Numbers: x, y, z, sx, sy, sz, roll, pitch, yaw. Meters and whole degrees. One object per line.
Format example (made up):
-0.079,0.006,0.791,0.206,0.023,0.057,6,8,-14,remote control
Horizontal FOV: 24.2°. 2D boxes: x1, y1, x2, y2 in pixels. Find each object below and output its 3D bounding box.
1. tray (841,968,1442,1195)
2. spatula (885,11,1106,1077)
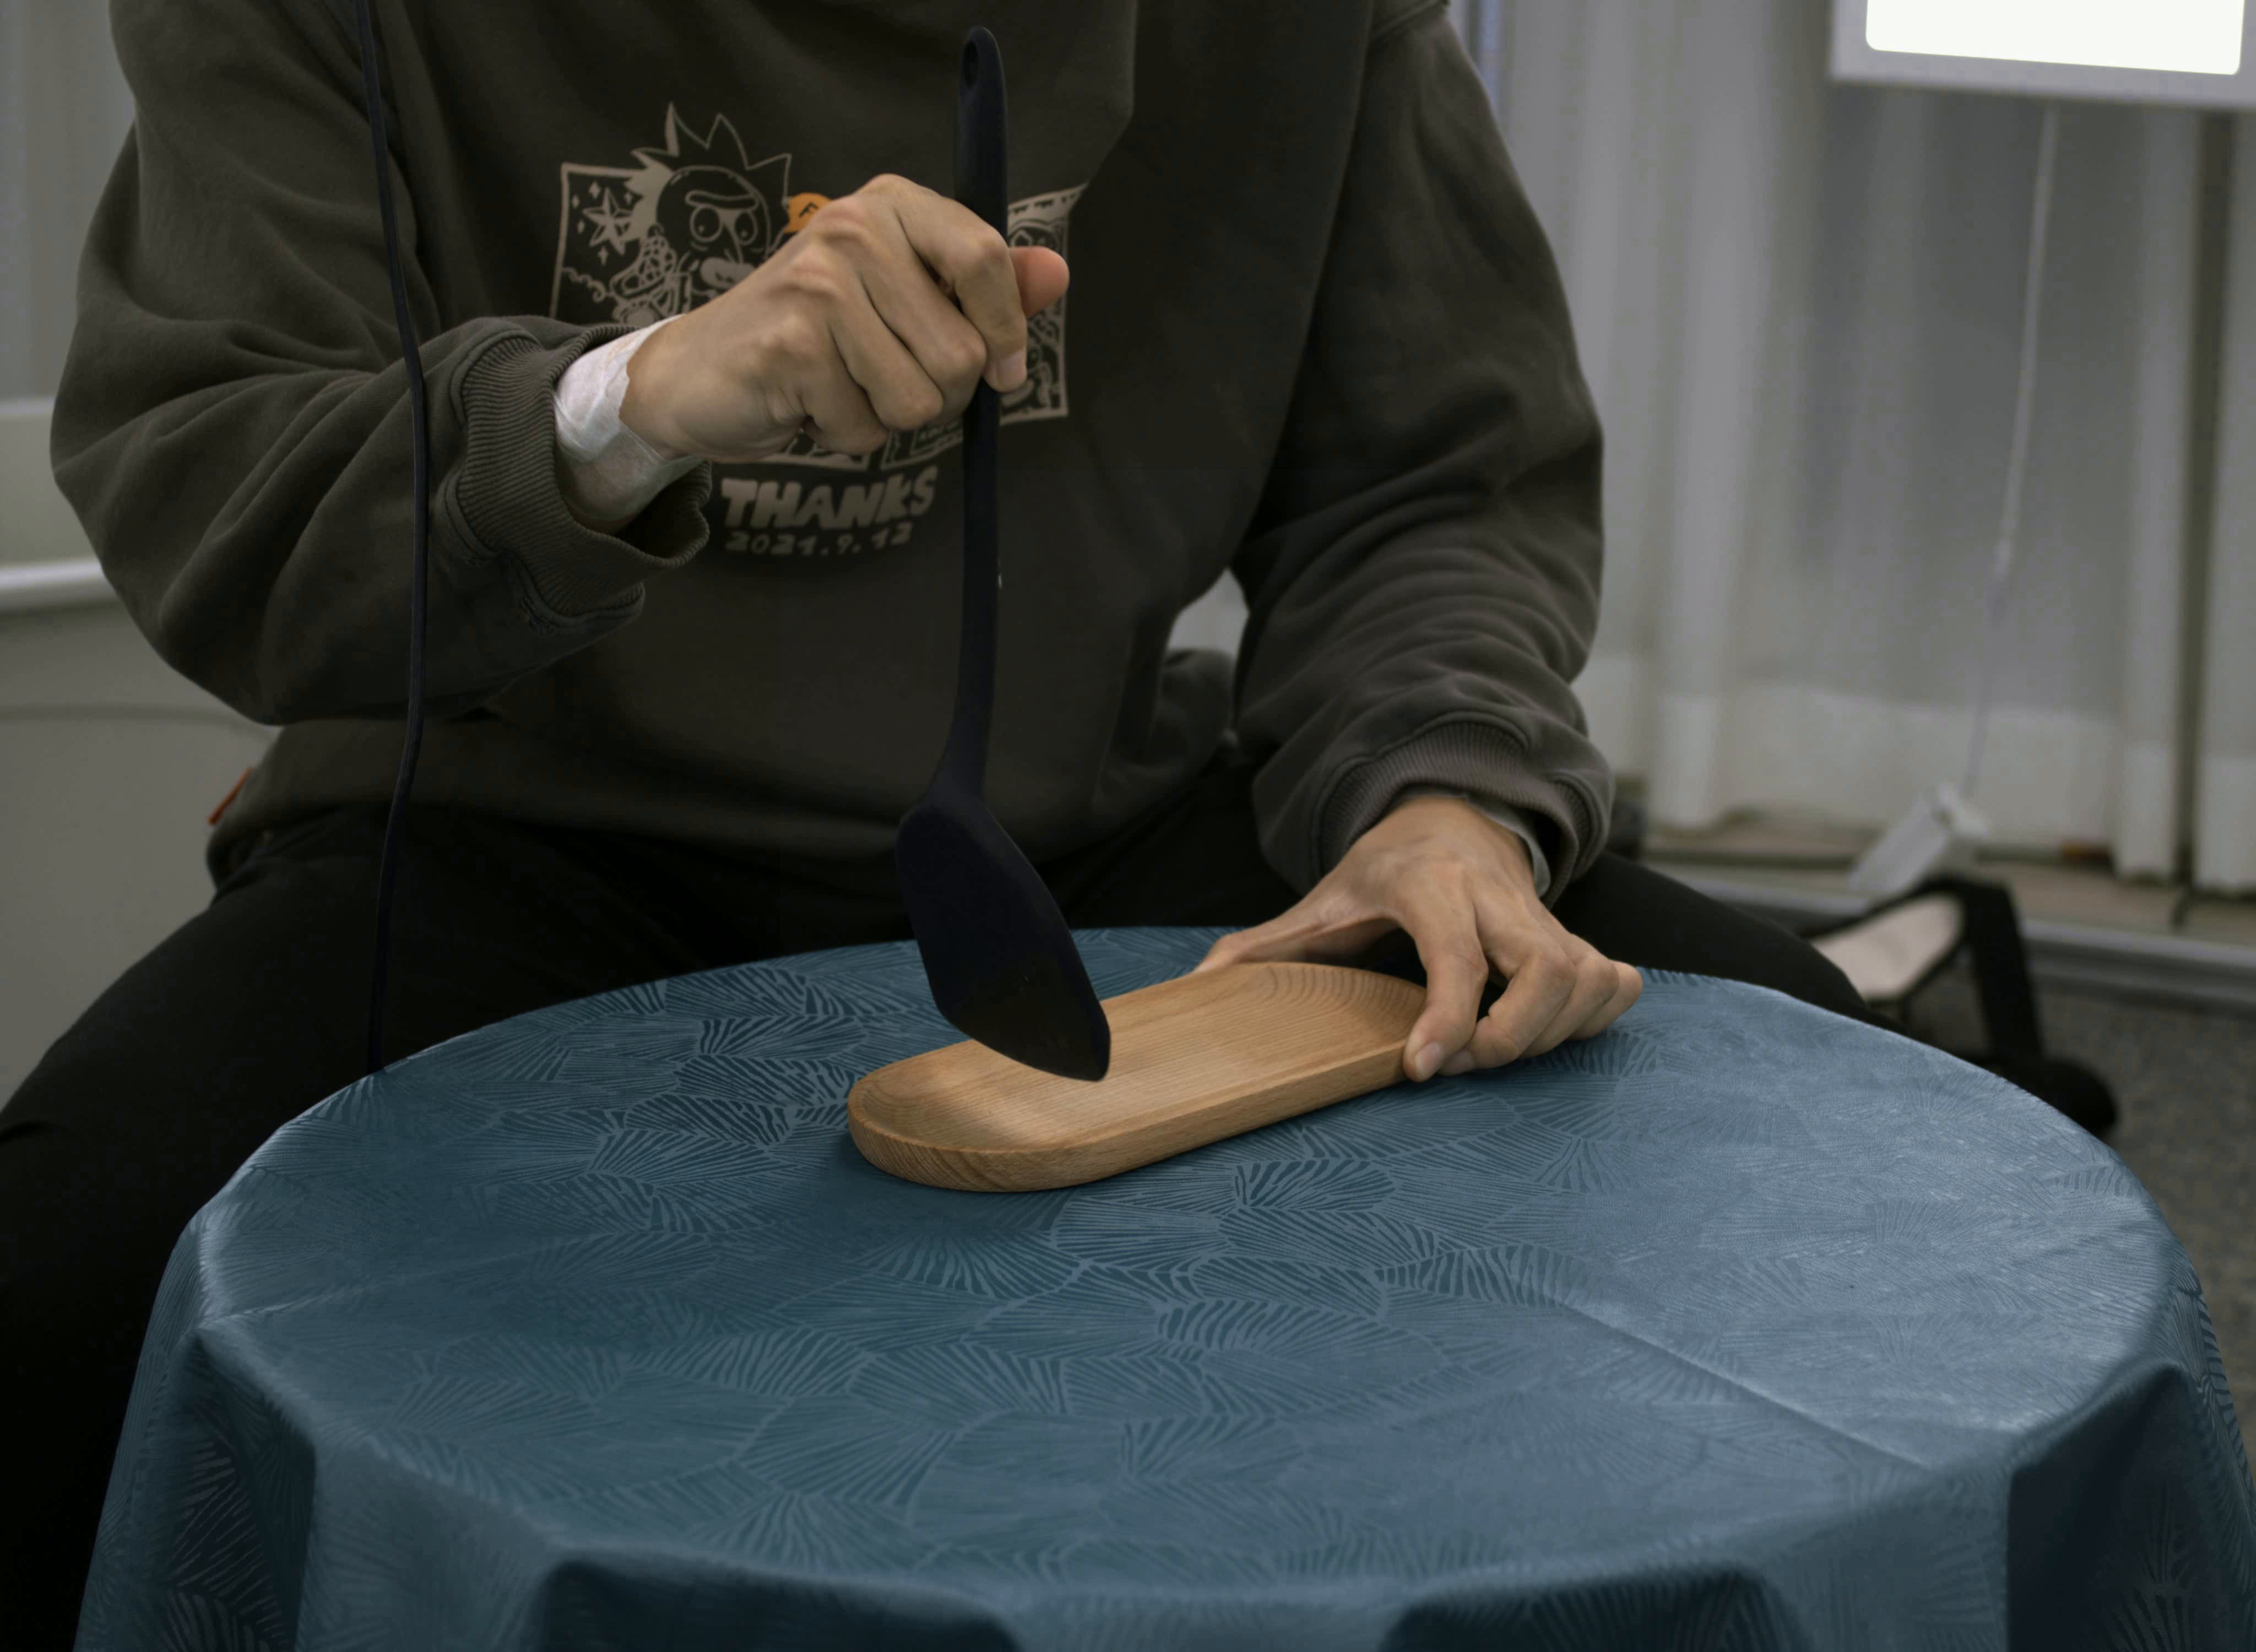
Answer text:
0.007,0.082,1.711,0.232,0.020,0.100,-16,23,-42,tray
-0.042,-0.085,1.616,0.040,0.328,0.098,-6,15,-36,spatula
